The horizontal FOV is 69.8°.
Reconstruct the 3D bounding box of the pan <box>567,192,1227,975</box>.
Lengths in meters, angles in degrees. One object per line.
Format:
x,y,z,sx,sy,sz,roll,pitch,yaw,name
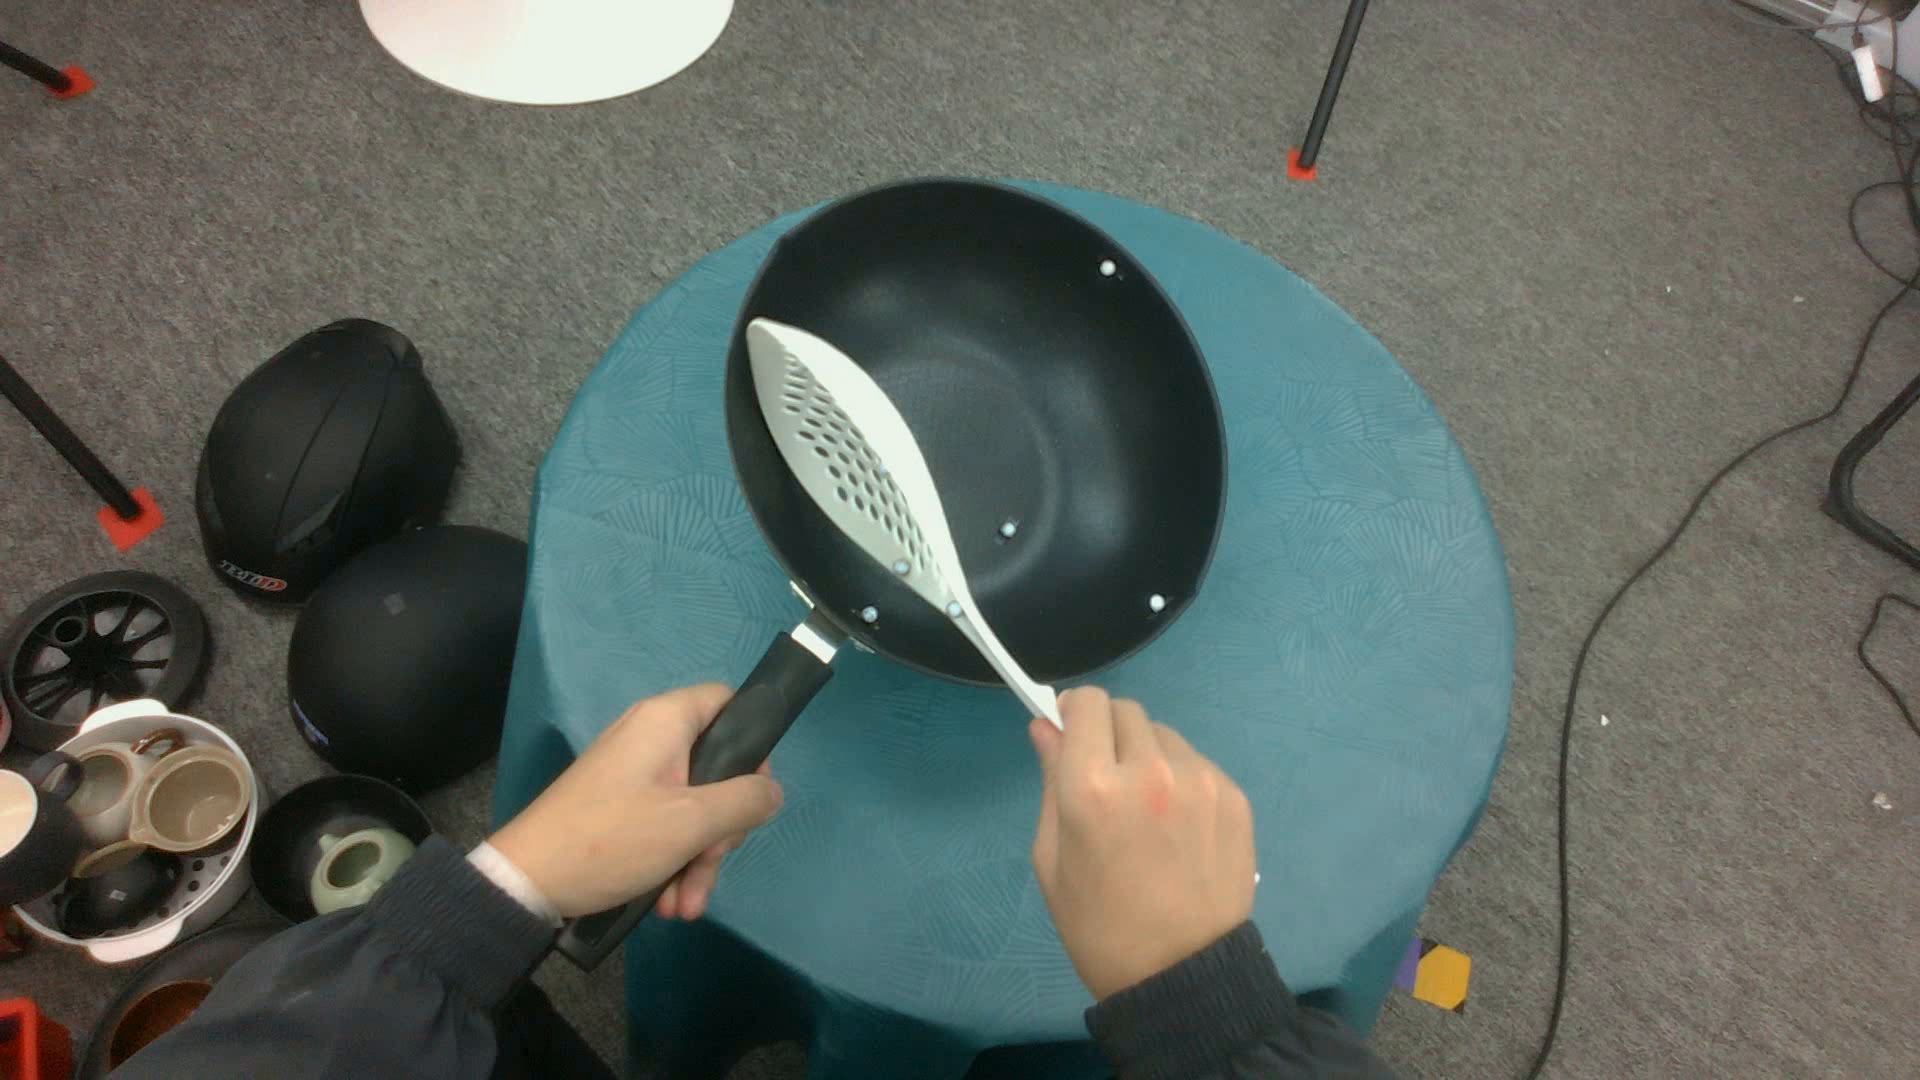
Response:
-0.044,0.022,0.720,0.288,0.086,0.465,37,66,-6,pan

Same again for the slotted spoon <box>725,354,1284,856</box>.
0.010,0.032,0.651,0.050,0.136,0.348,-35,68,-19,slotted spoon
